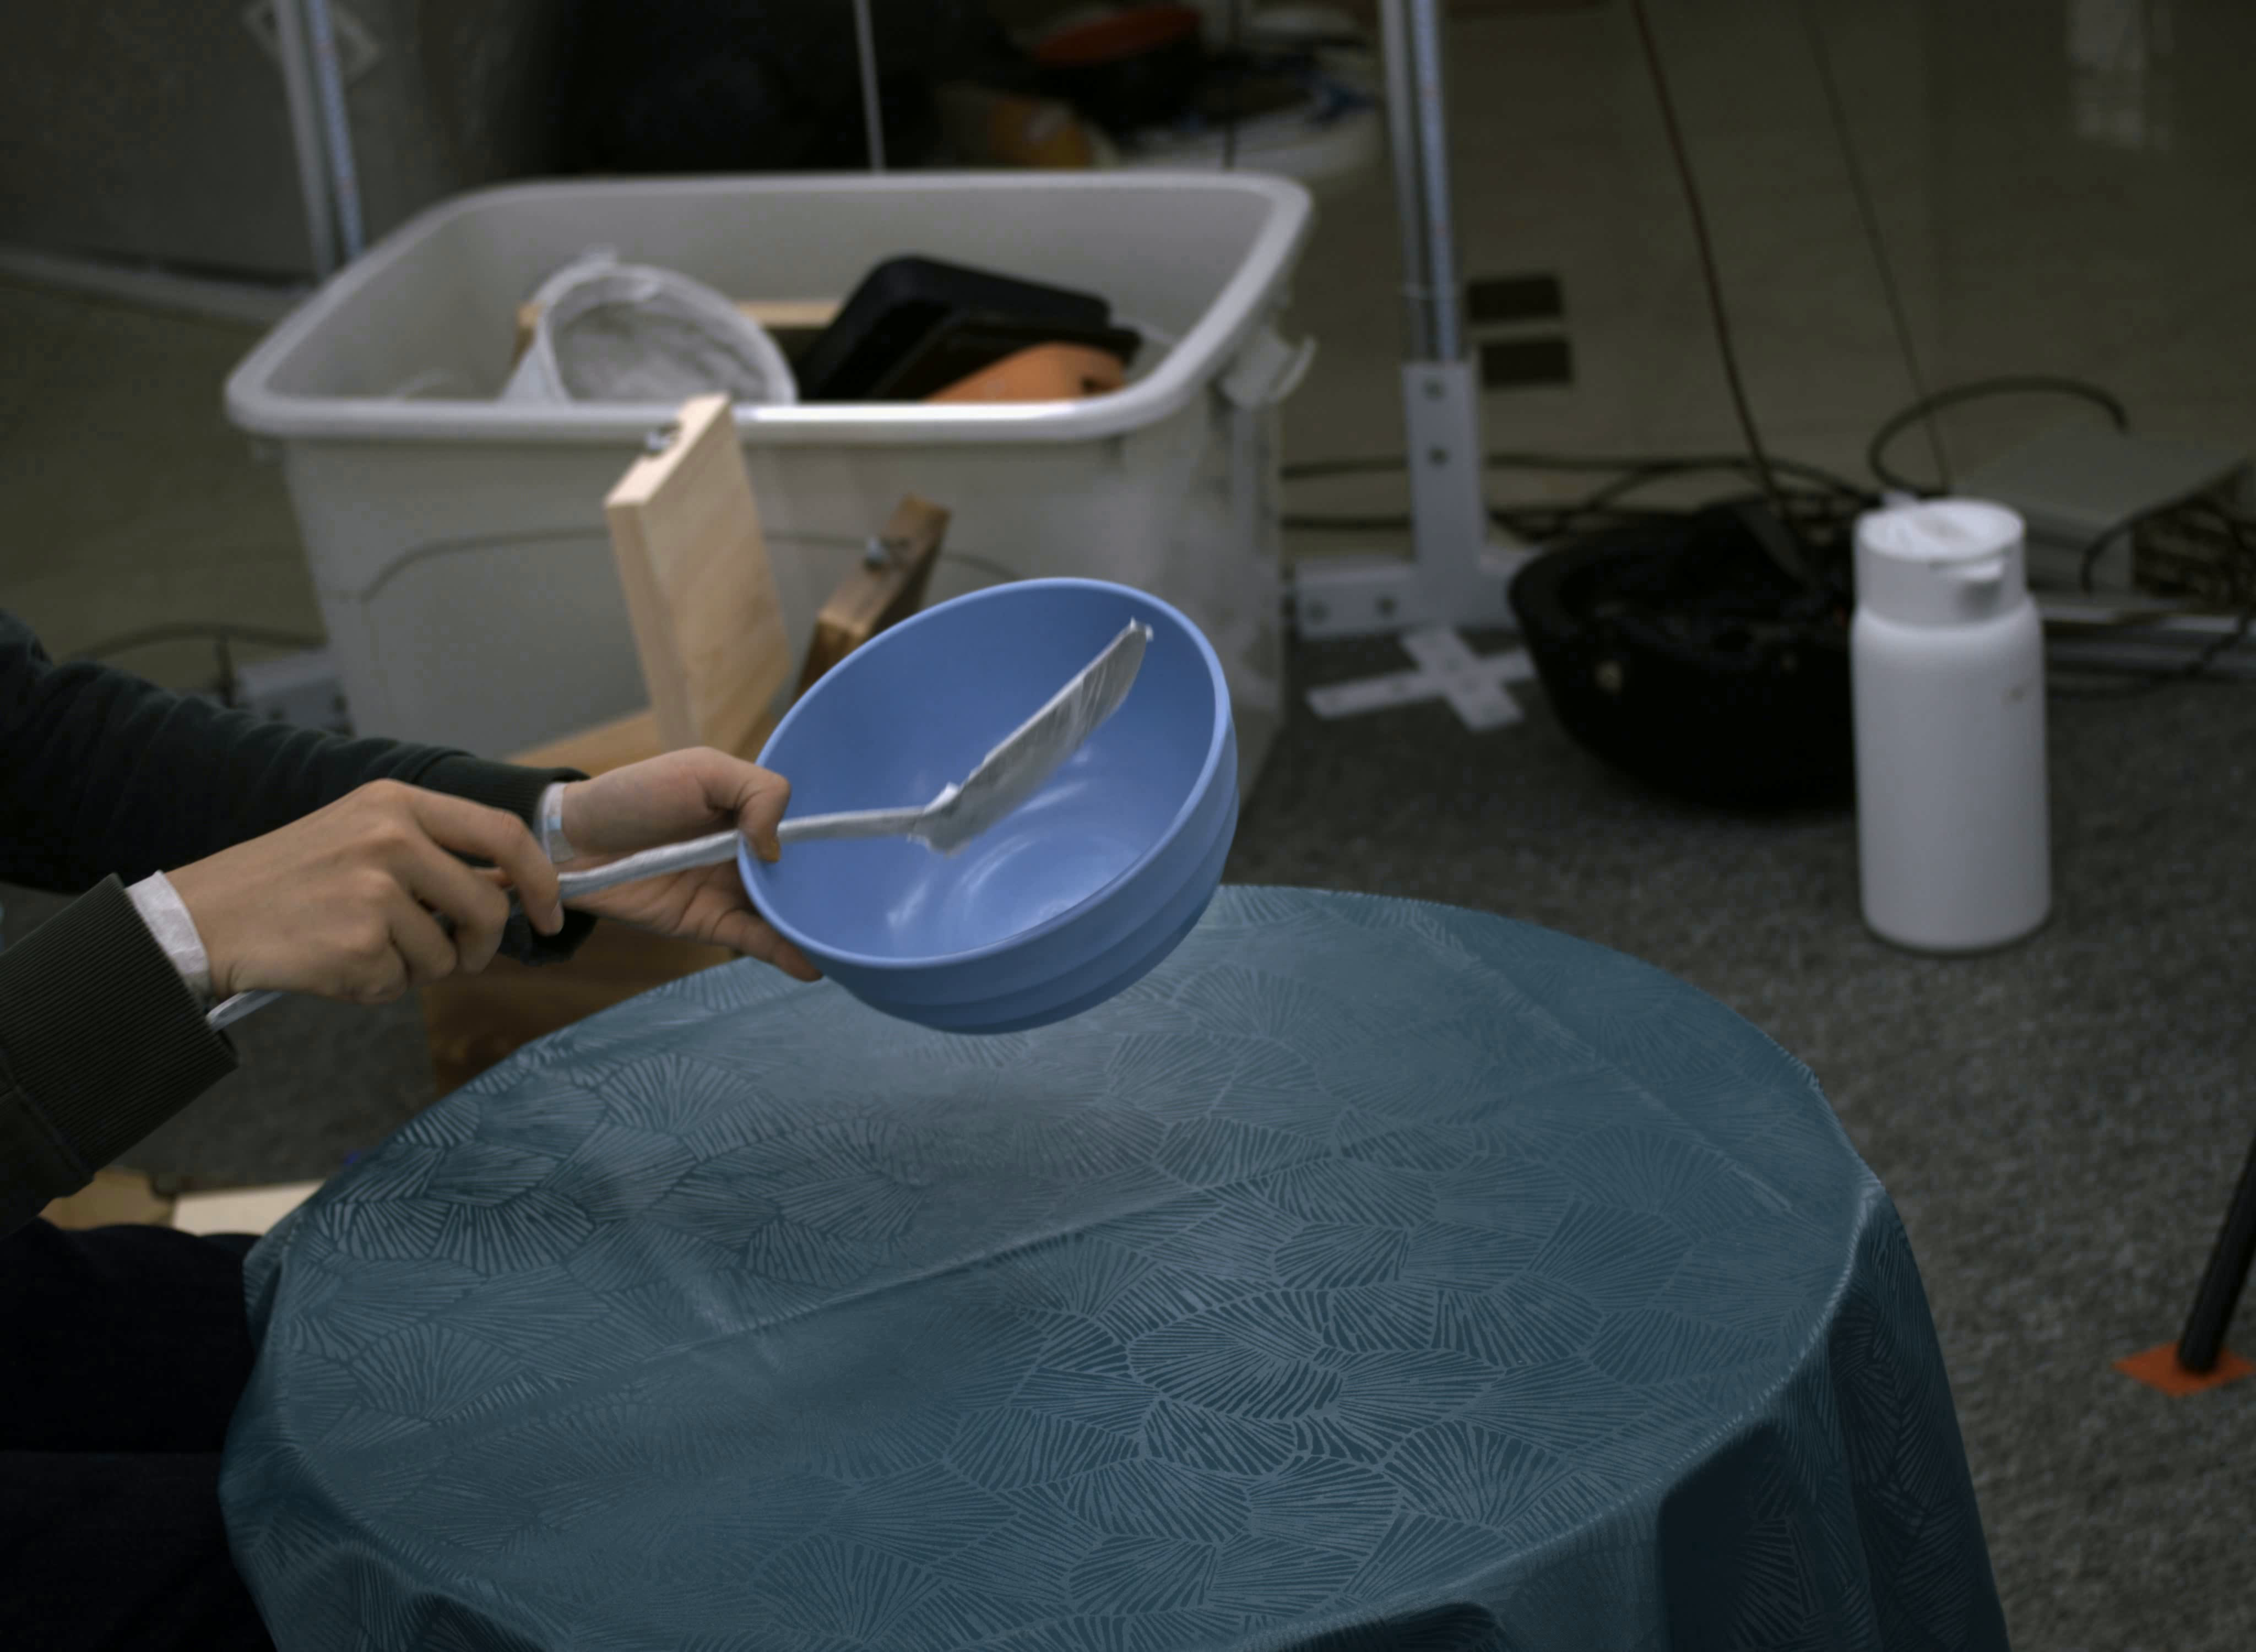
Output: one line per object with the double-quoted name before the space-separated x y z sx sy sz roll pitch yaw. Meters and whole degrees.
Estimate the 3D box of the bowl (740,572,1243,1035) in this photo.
"bowl" -0.039 0.007 2.142 0.196 0.097 0.193 -13 46 14

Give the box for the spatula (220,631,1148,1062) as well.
"spatula" -0.149 0.010 1.962 0.363 0.100 0.044 -16 71 -24
